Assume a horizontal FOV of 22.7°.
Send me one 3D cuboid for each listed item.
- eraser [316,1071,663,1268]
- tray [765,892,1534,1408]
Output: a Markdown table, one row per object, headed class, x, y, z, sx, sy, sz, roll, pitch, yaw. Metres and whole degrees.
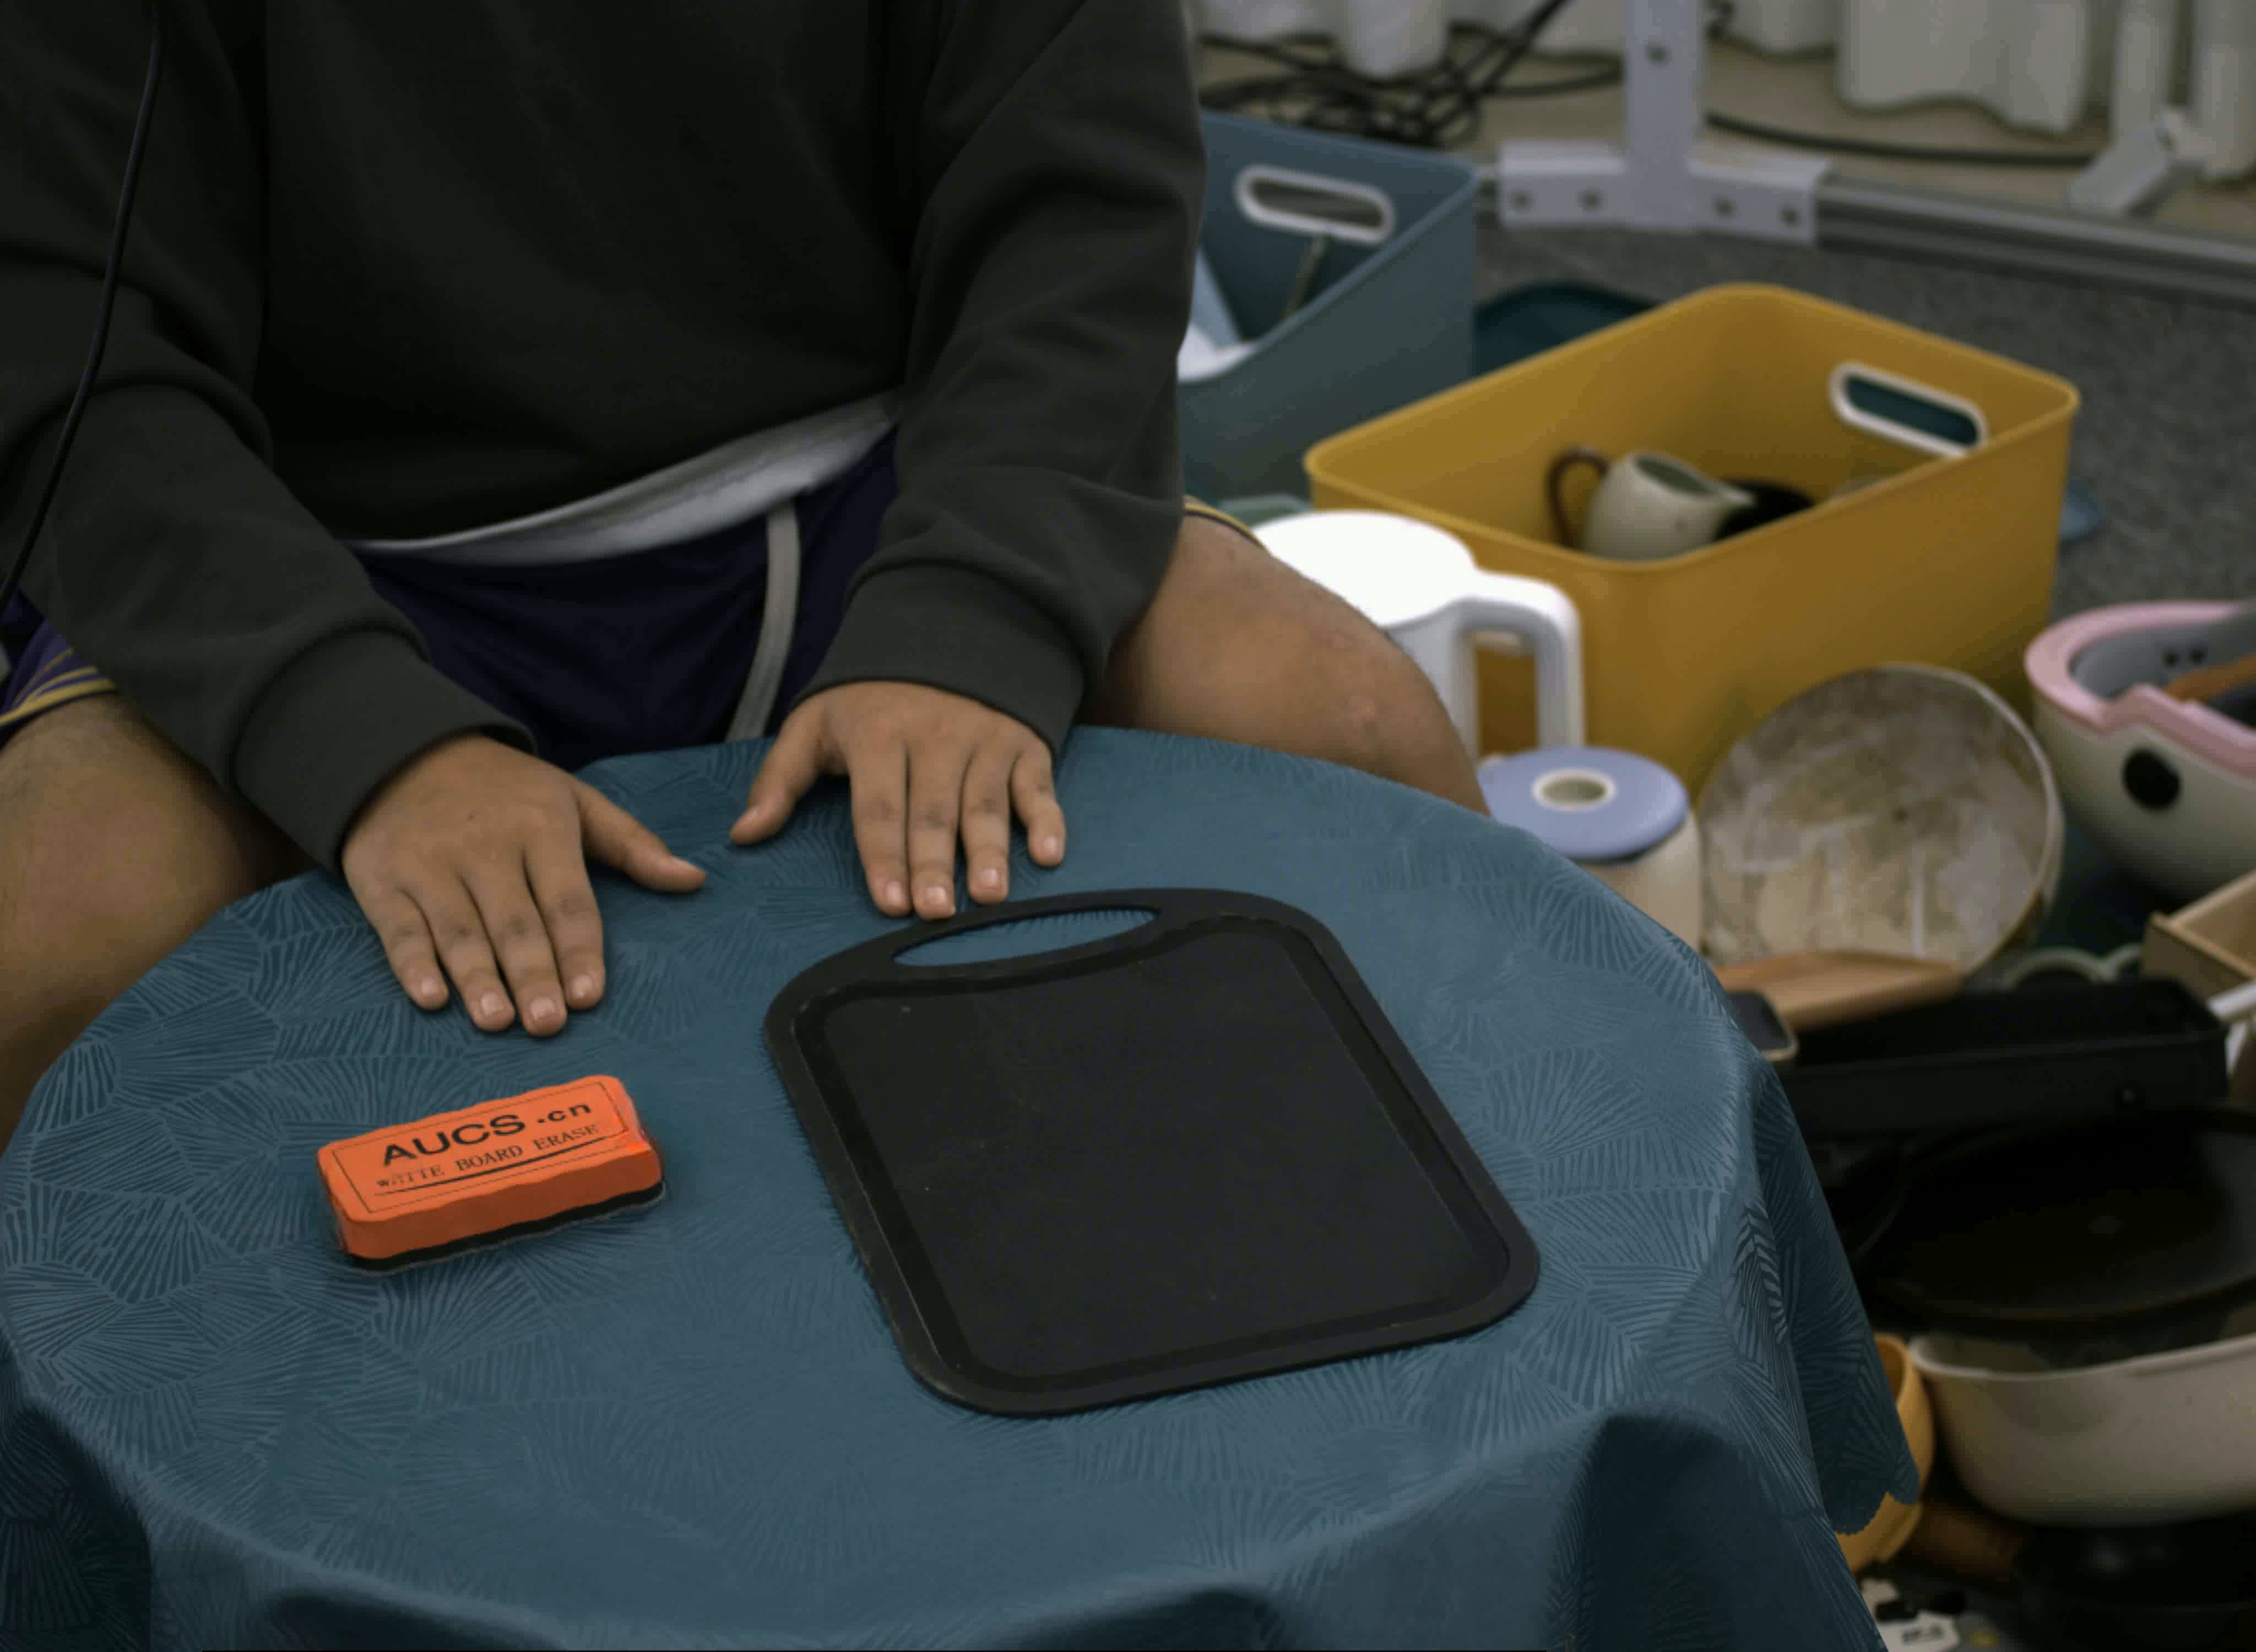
| class | x | y | z | sx | sy | sz | roll | pitch | yaw |
| --- | --- | --- | --- | --- | --- | --- | --- | --- | --- |
| eraser | -0.212 | 0.114 | 1.866 | 0.108 | 0.022 | 0.059 | -13 | 30 | -21 |
| tray | -0.002 | 0.100 | 1.898 | 0.211 | 0.009 | 0.329 | -9 | 28 | -12 |
